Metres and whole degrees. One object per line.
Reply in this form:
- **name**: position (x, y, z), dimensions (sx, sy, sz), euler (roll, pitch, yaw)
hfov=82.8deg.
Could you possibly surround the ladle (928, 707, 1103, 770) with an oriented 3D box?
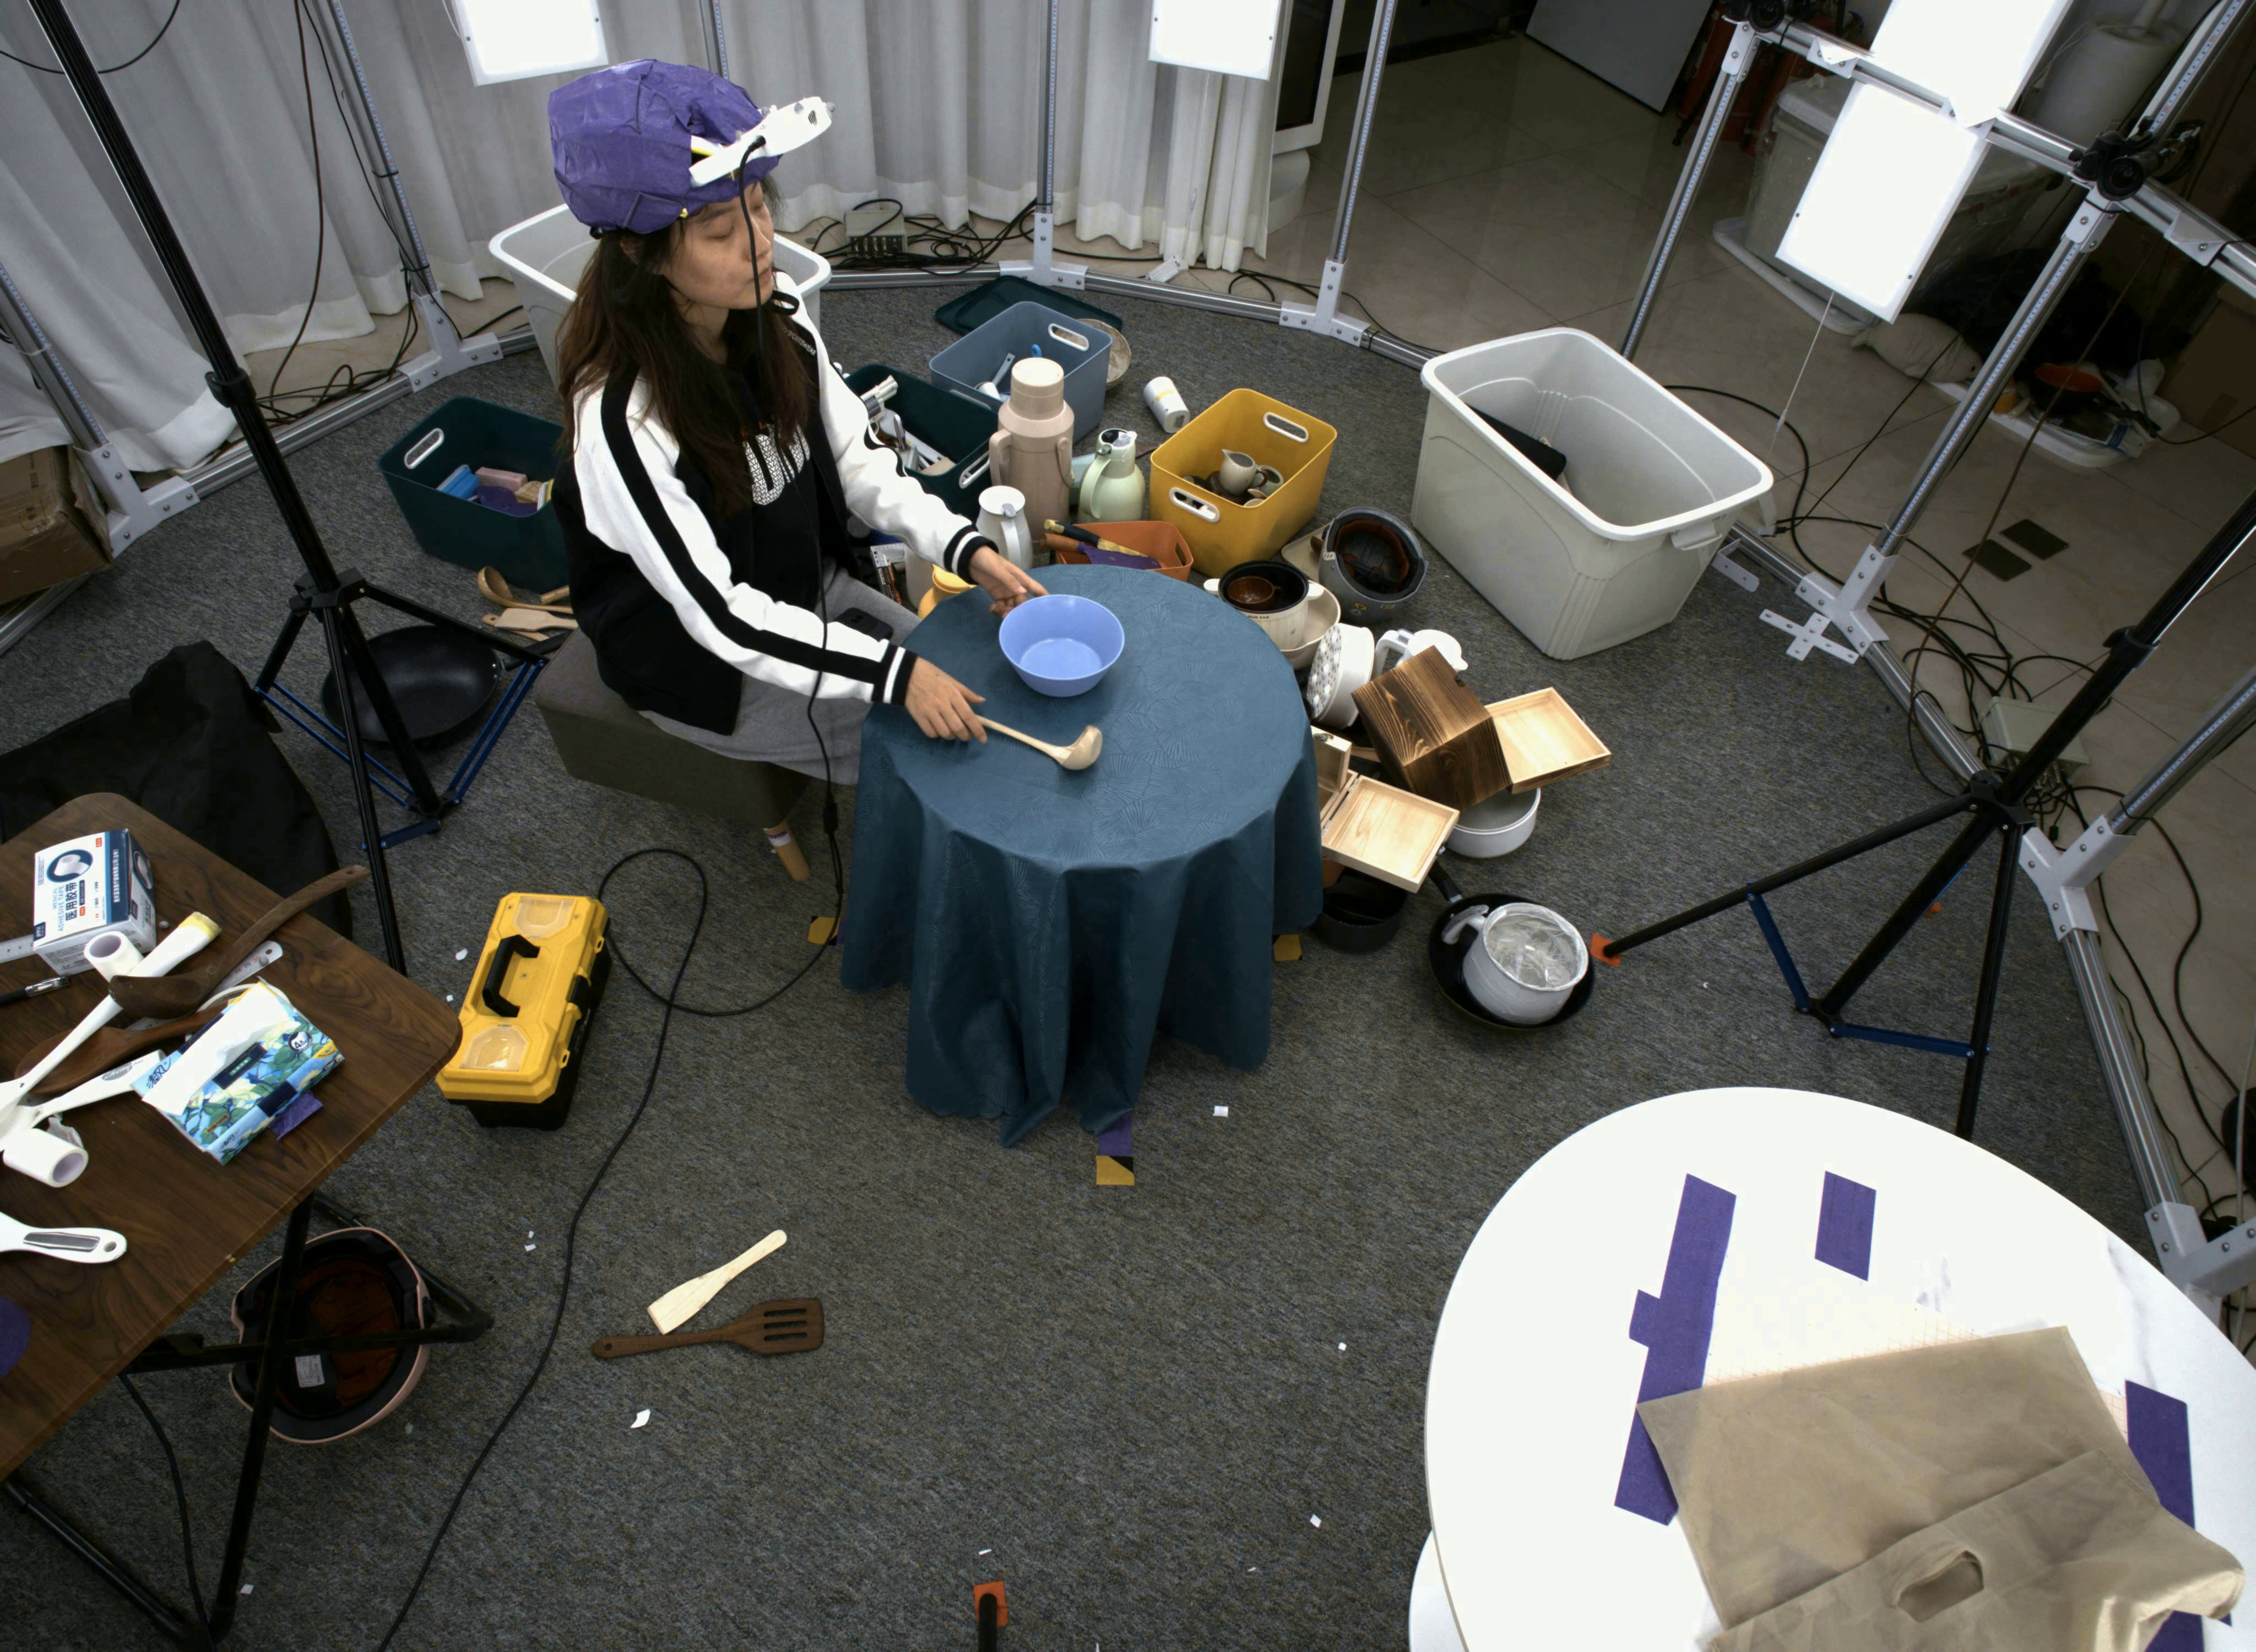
- **ladle**: position (-0.157, -0.142, 1.736), dimensions (0.256, 0.071, 0.073), euler (20, 49, 12)

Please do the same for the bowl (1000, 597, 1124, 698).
- **bowl**: position (-0.095, -0.246, 1.832), dimensions (0.176, 0.068, 0.180), euler (2, 48, -3)
